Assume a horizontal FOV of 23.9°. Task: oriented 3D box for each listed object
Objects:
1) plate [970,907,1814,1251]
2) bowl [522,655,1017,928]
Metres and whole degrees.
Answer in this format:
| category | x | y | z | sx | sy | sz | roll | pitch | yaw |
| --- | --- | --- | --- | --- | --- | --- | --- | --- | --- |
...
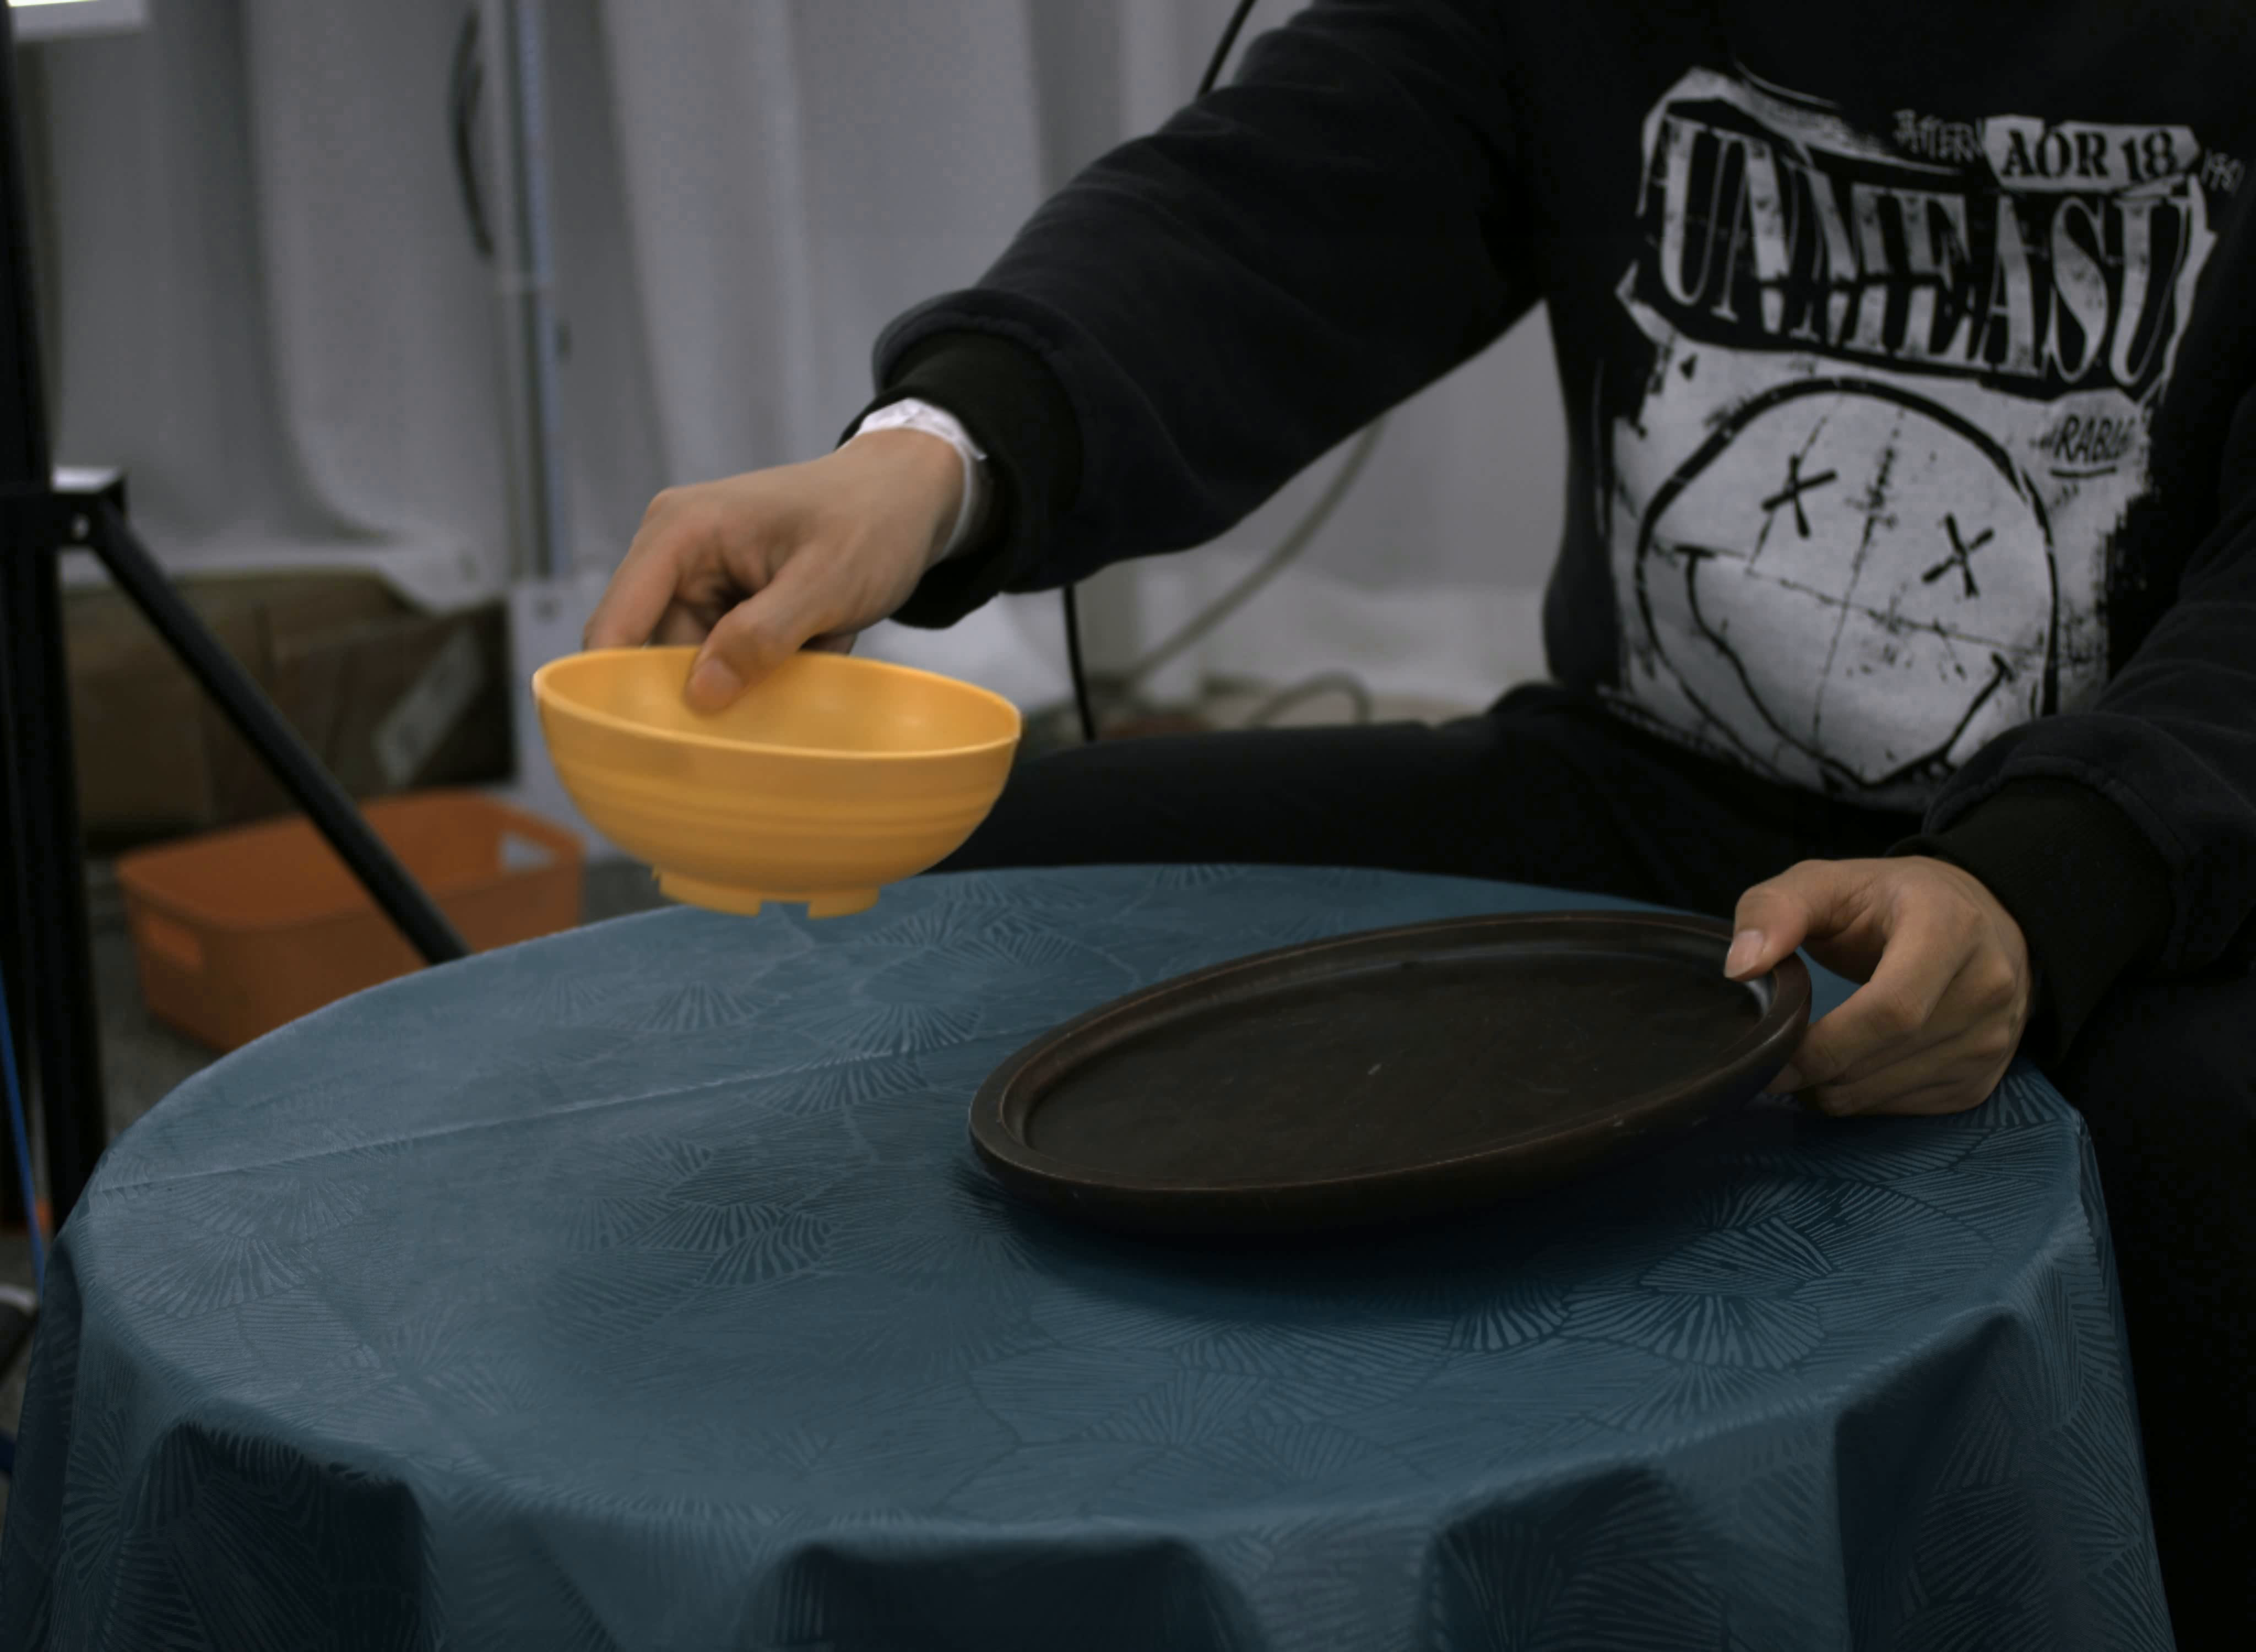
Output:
| category | x | y | z | sx | sy | sz | roll | pitch | yaw |
| --- | --- | --- | --- | --- | --- | --- | --- | --- | --- |
| plate | 0.079 | 0.073 | 1.569 | 0.254 | 0.029 | 0.256 | -12 | 12 | 1 |
| bowl | -0.107 | -0.006 | 1.547 | 0.144 | 0.060 | 0.146 | 6 | 11 | -3 |
